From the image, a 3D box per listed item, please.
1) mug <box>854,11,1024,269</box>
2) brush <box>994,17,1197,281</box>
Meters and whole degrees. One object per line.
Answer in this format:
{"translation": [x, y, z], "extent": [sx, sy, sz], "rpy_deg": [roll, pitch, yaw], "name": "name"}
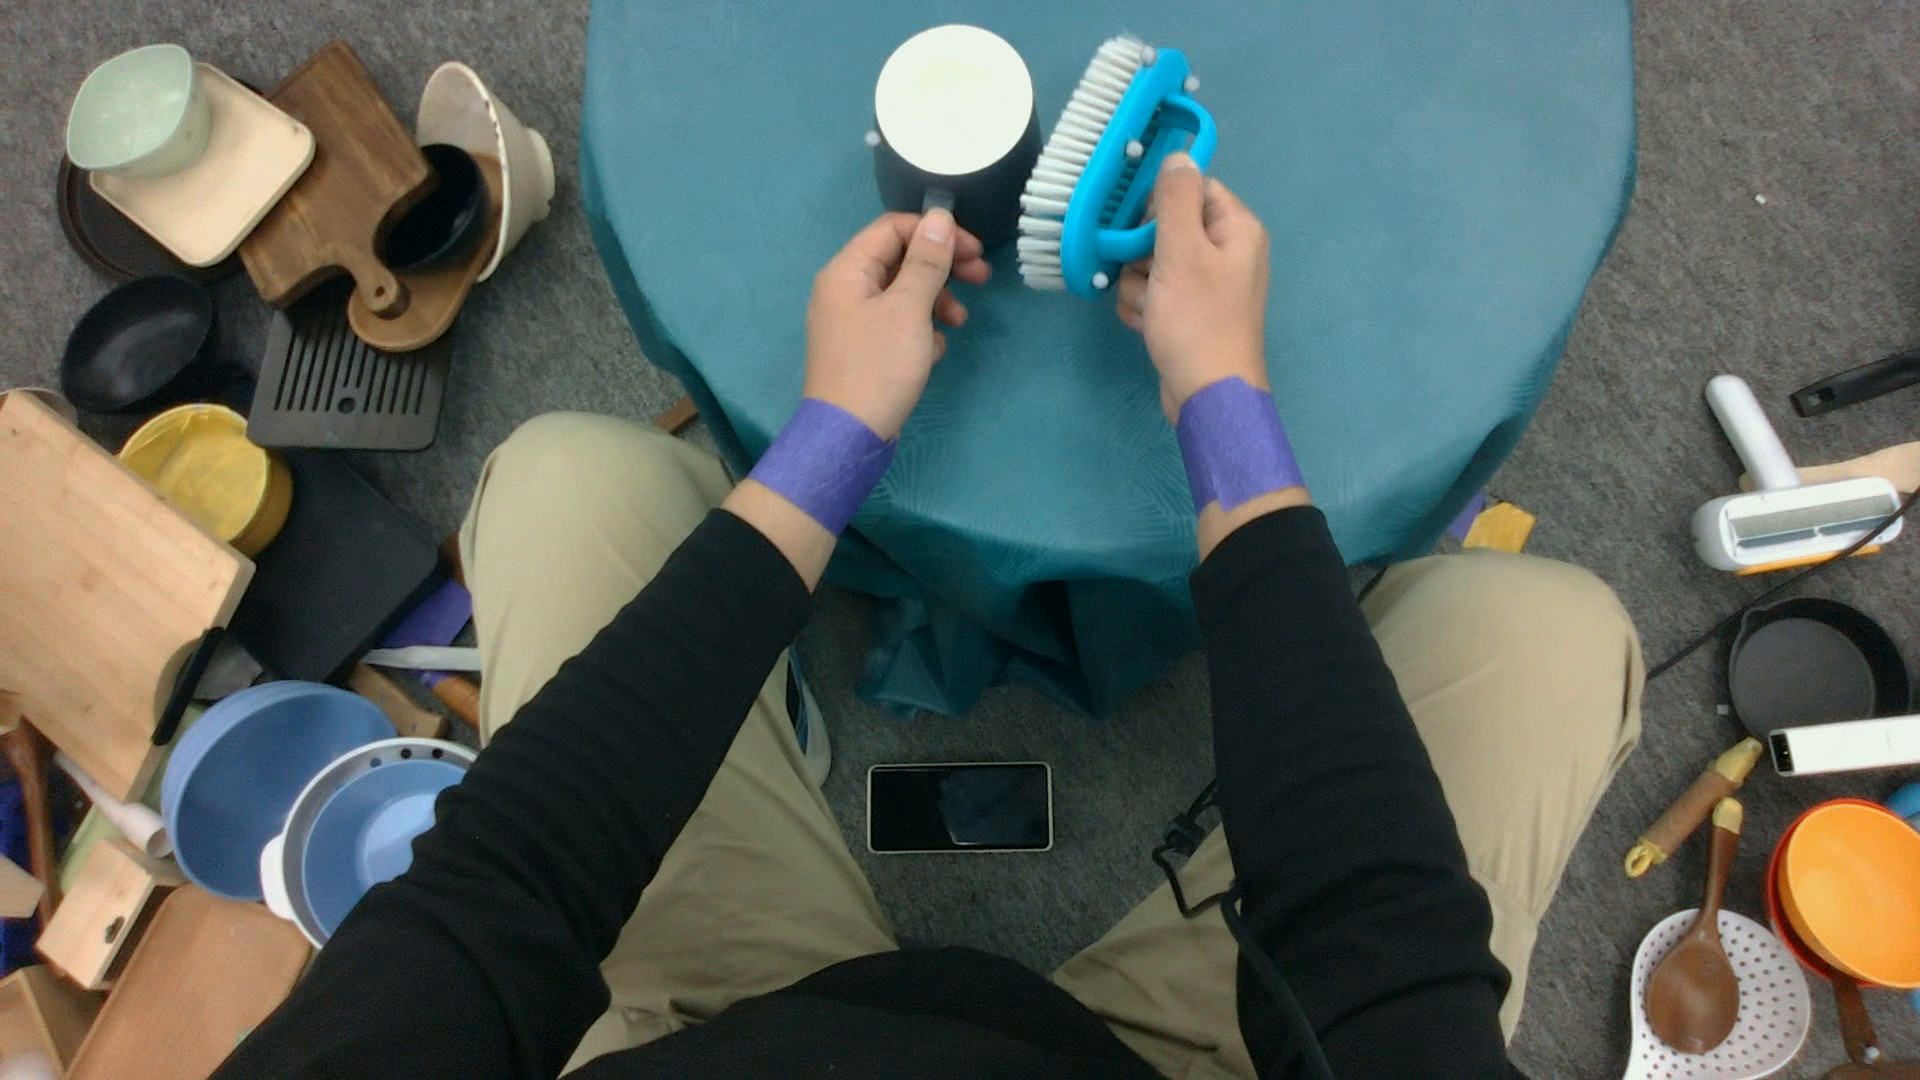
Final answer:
{"translation": [-0.015, -0.203, 0.724], "extent": [0.093, 0.089, 0.123], "rpy_deg": [11, 77, 4], "name": "mug"}
{"translation": [0.077, -0.189, 0.683], "extent": [0.064, 0.084, 0.142], "rpy_deg": [21, 72, 25], "name": "brush"}
